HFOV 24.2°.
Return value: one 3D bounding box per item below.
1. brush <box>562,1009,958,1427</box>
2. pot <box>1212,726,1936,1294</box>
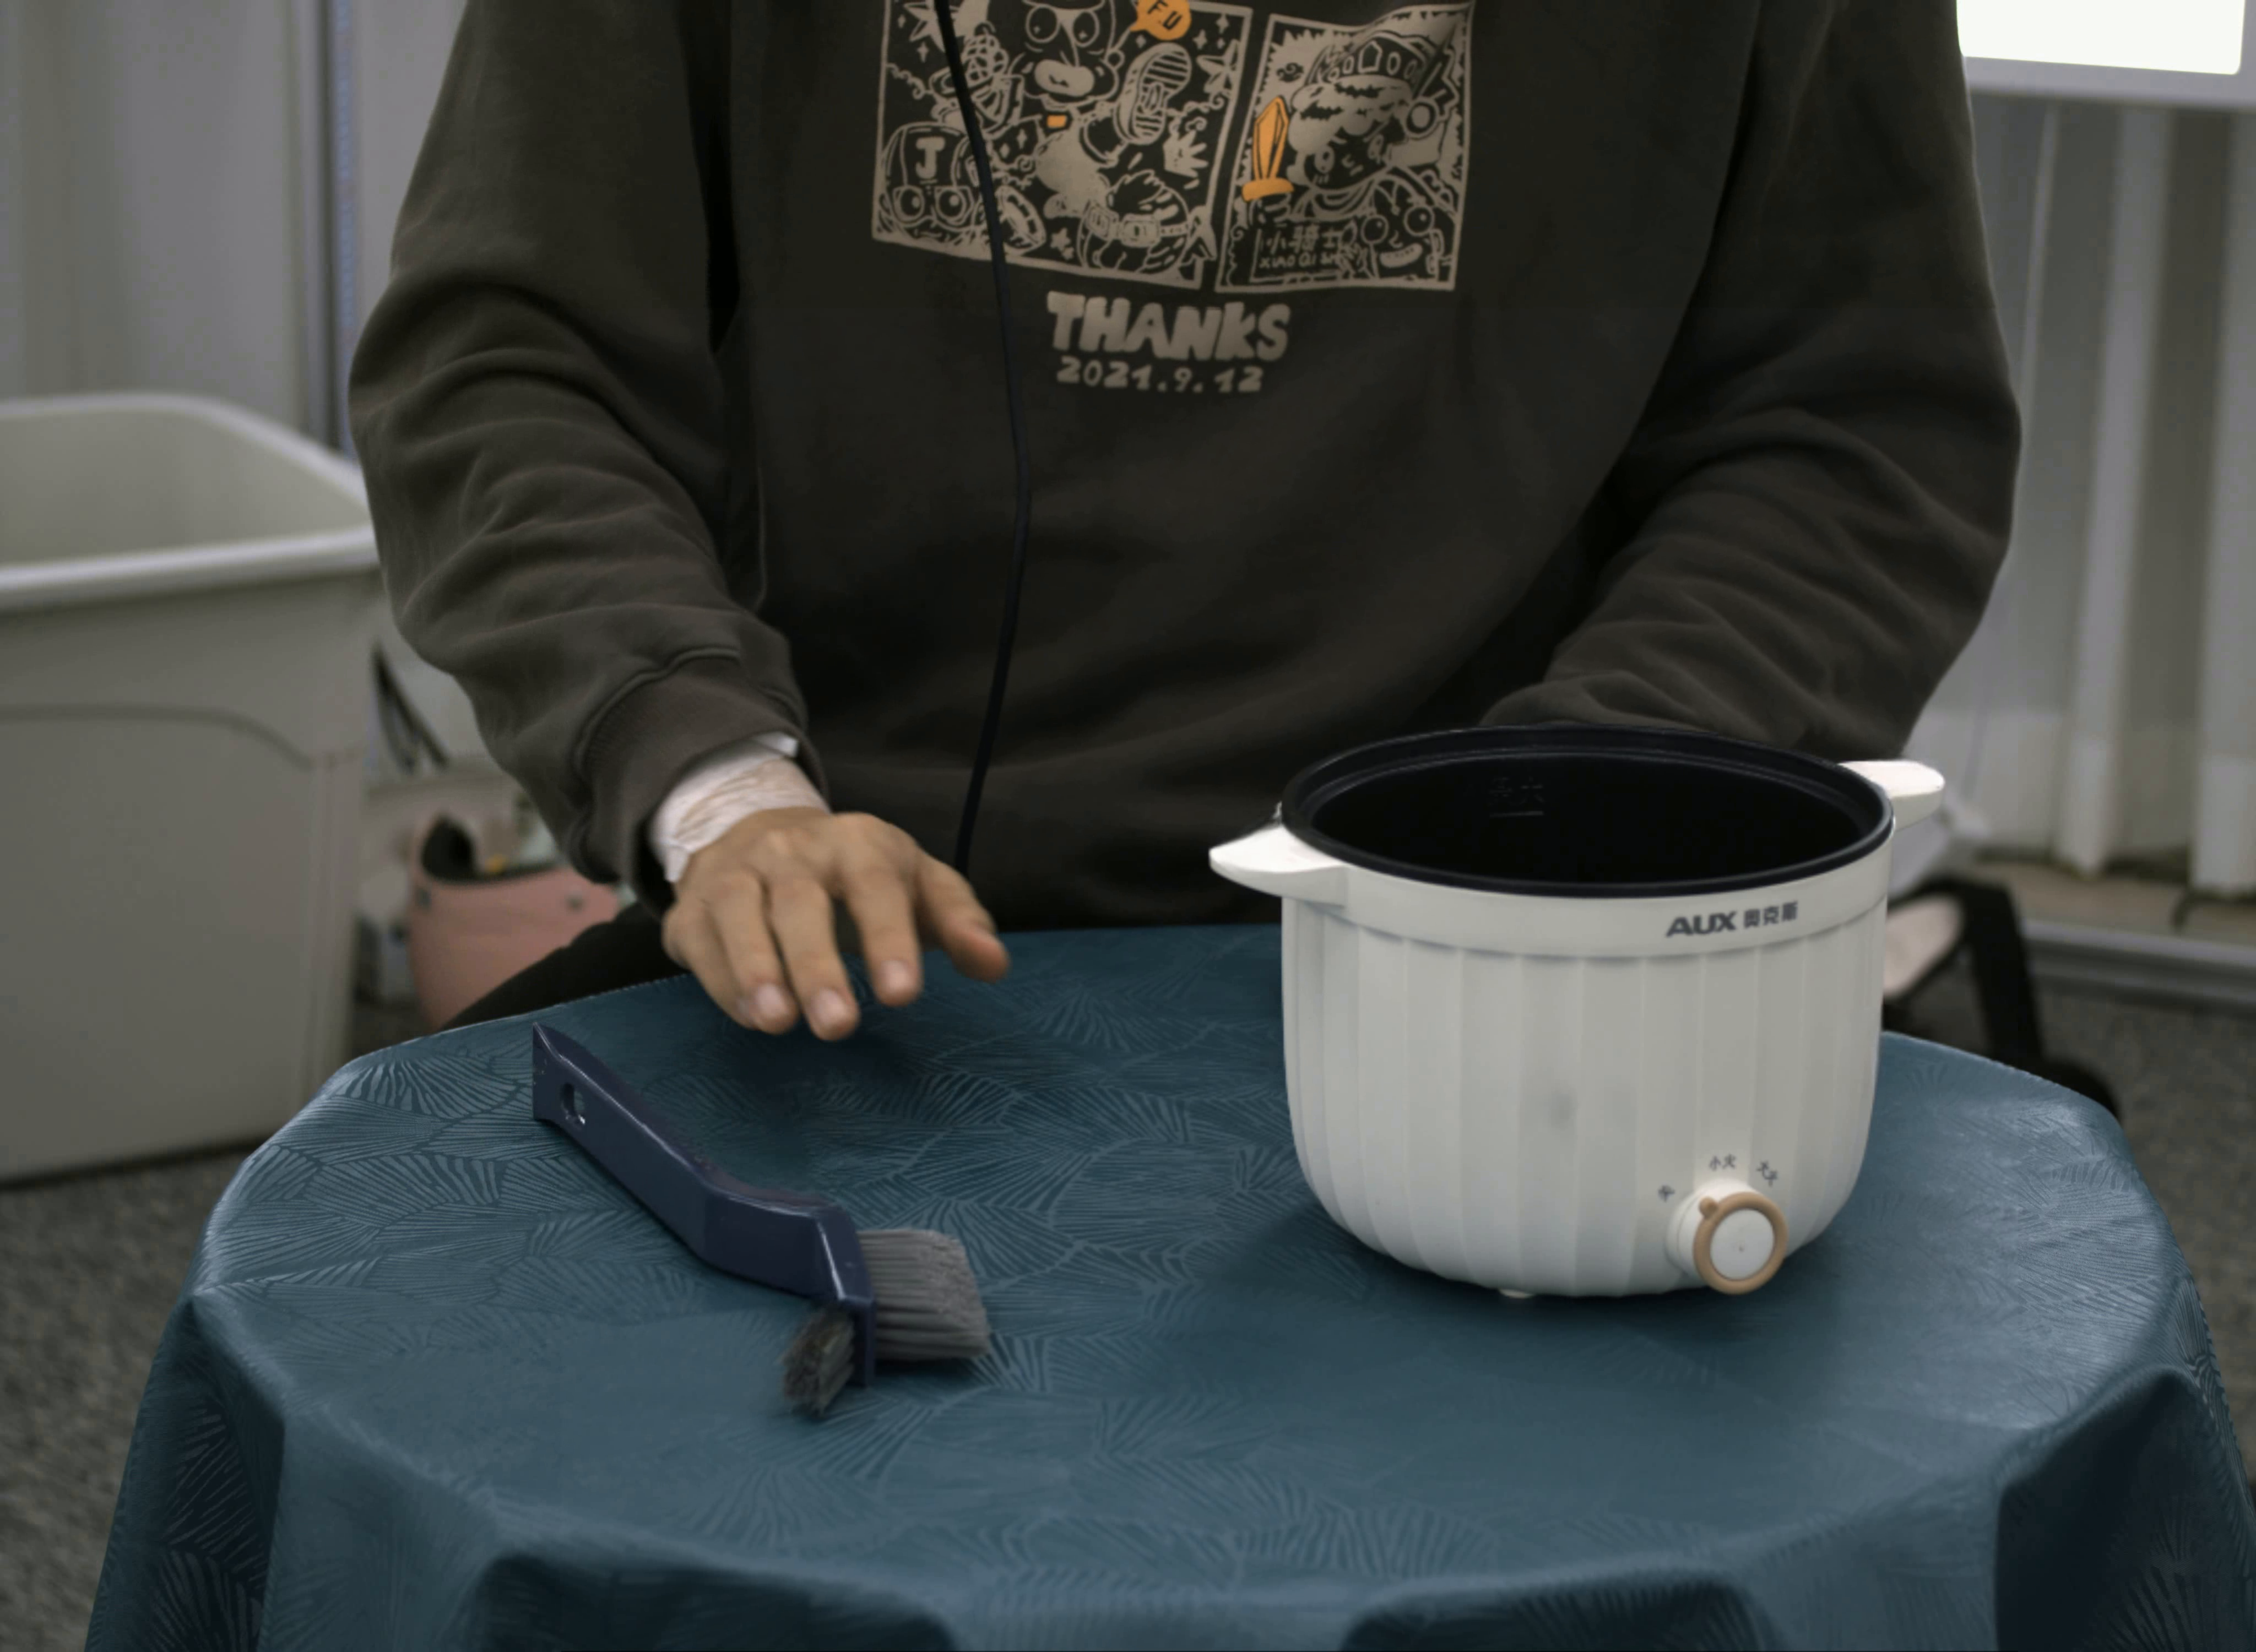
[{"bbox_3d":[-0.132,0.112,1.569,0.096,0.034,0.269,-10,20,-32],"label":"brush"},{"bbox_3d":[0.139,0.057,1.573,0.241,0.144,0.188,-8,14,-23],"label":"pot"}]
